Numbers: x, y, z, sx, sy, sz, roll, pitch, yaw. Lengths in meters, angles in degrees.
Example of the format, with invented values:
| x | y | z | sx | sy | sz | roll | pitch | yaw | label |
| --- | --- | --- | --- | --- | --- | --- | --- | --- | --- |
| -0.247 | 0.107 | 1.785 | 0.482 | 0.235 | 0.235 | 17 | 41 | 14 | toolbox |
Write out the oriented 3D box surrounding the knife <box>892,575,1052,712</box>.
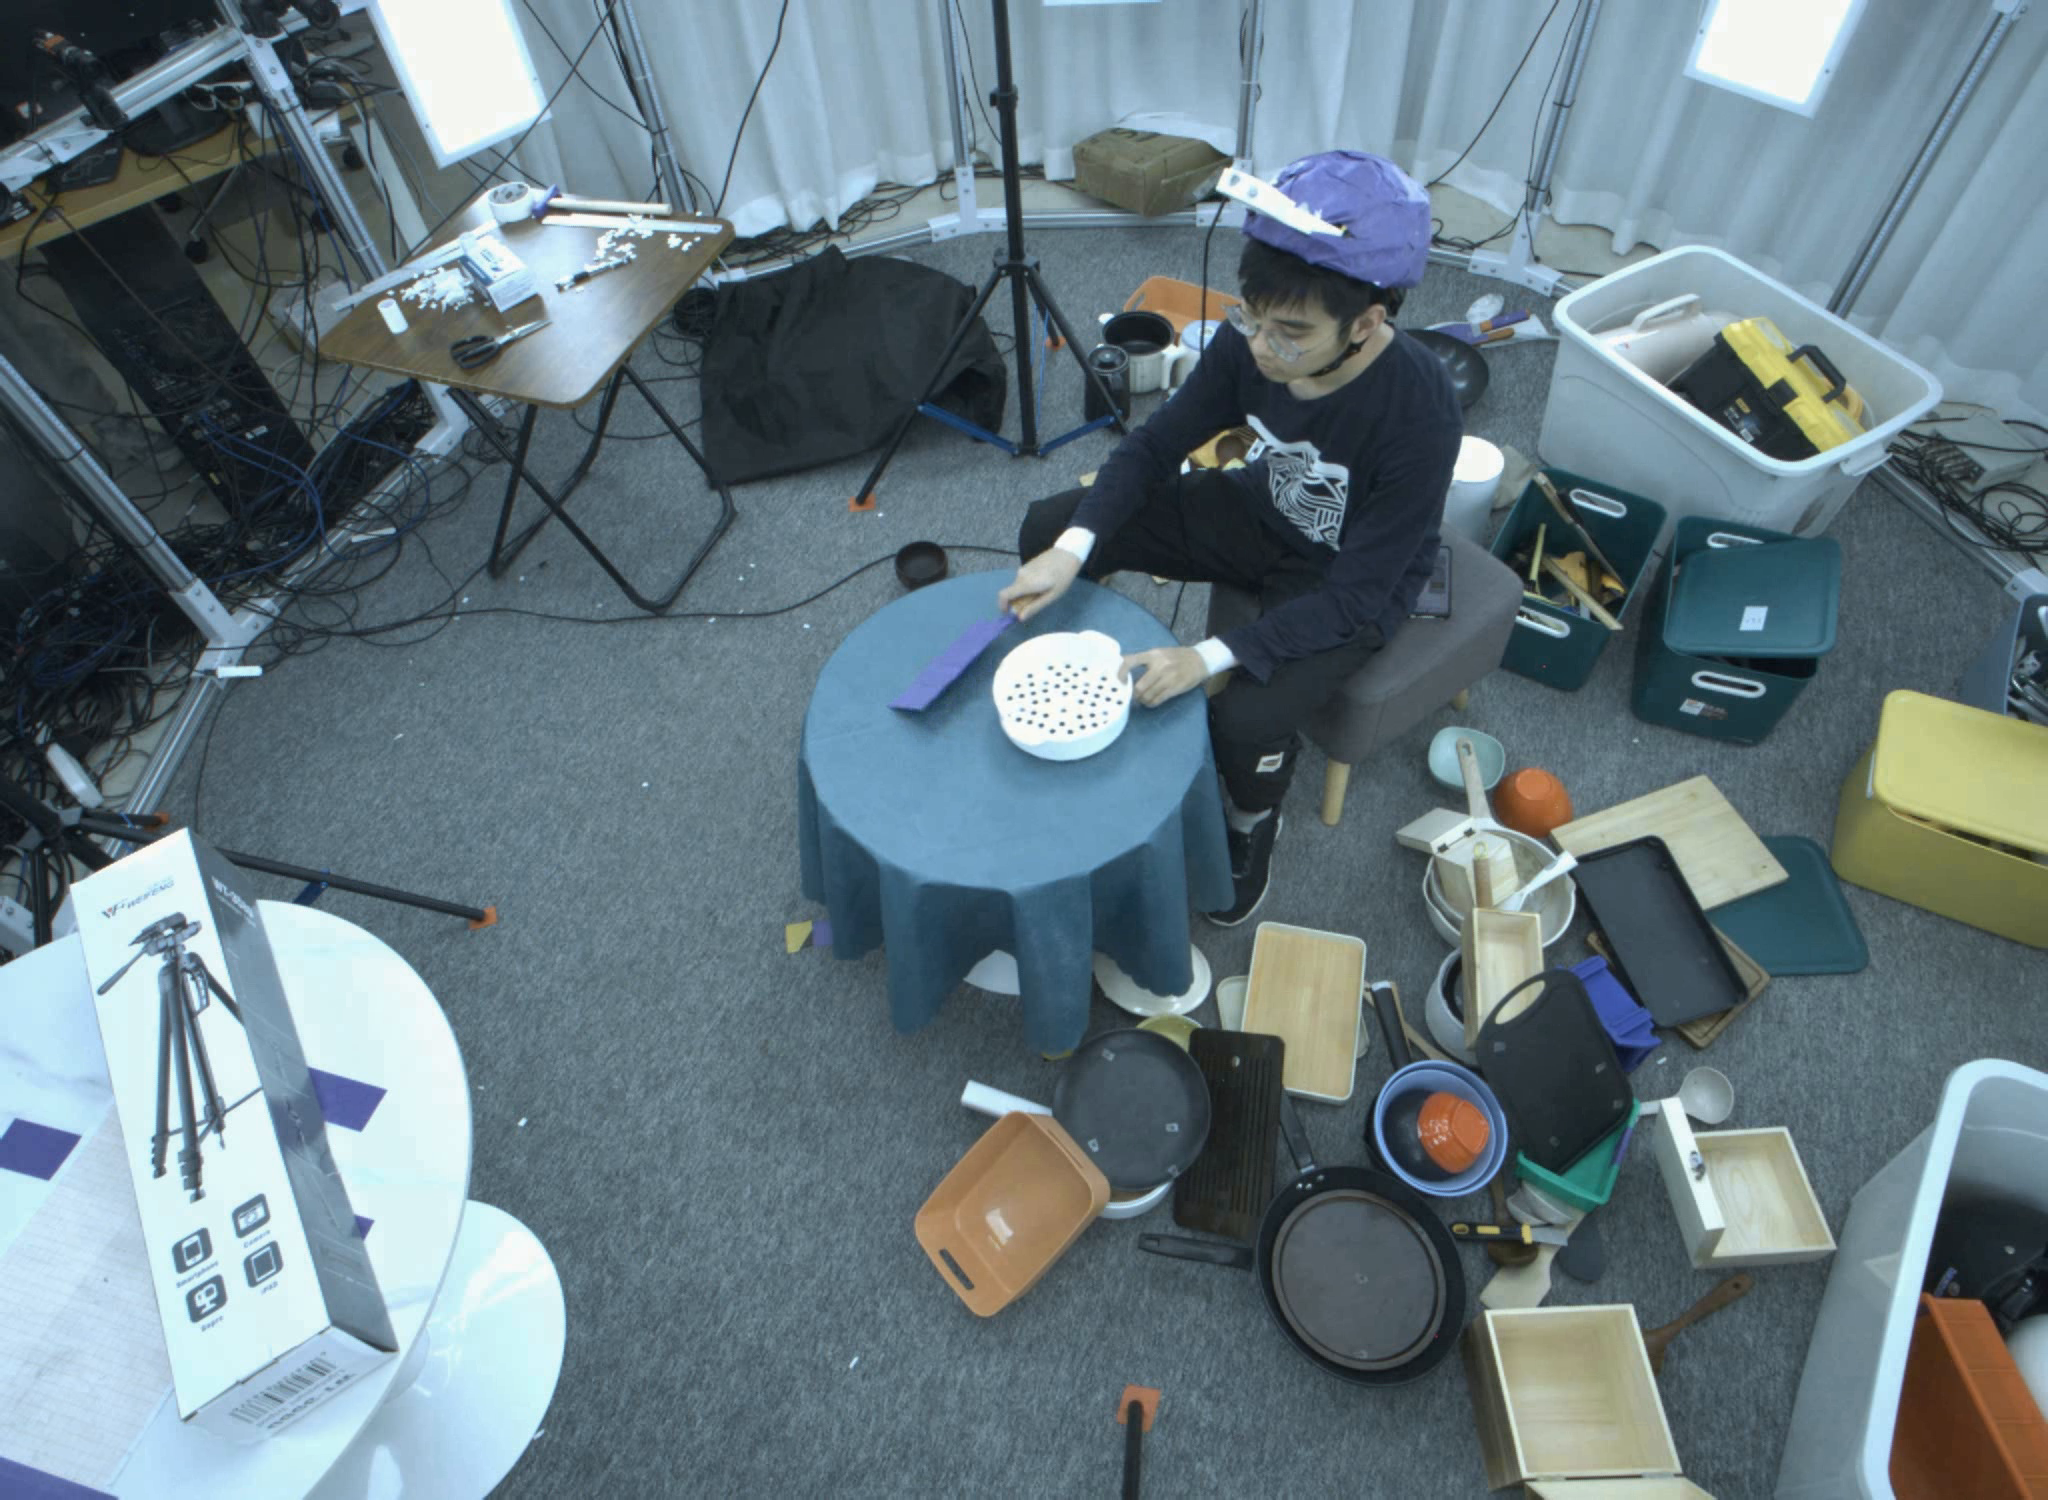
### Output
| x | y | z | sx | sy | sz | roll | pitch | yaw | label |
| --- | --- | --- | --- | --- | --- | --- | --- | --- | --- |
| -0.083 | -0.166 | 1.876 | 0.101 | 0.033 | 0.317 | 12 | 49 | 46 | knife |

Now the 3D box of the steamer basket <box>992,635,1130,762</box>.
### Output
| x | y | z | sx | sy | sz | roll | pitch | yaw | label |
| --- | --- | --- | --- | --- | --- | --- | --- | --- | --- |
| 0.054 | -0.073 | 1.806 | 0.199 | 0.070 | 0.232 | 30 | 57 | 19 | steamer basket |
